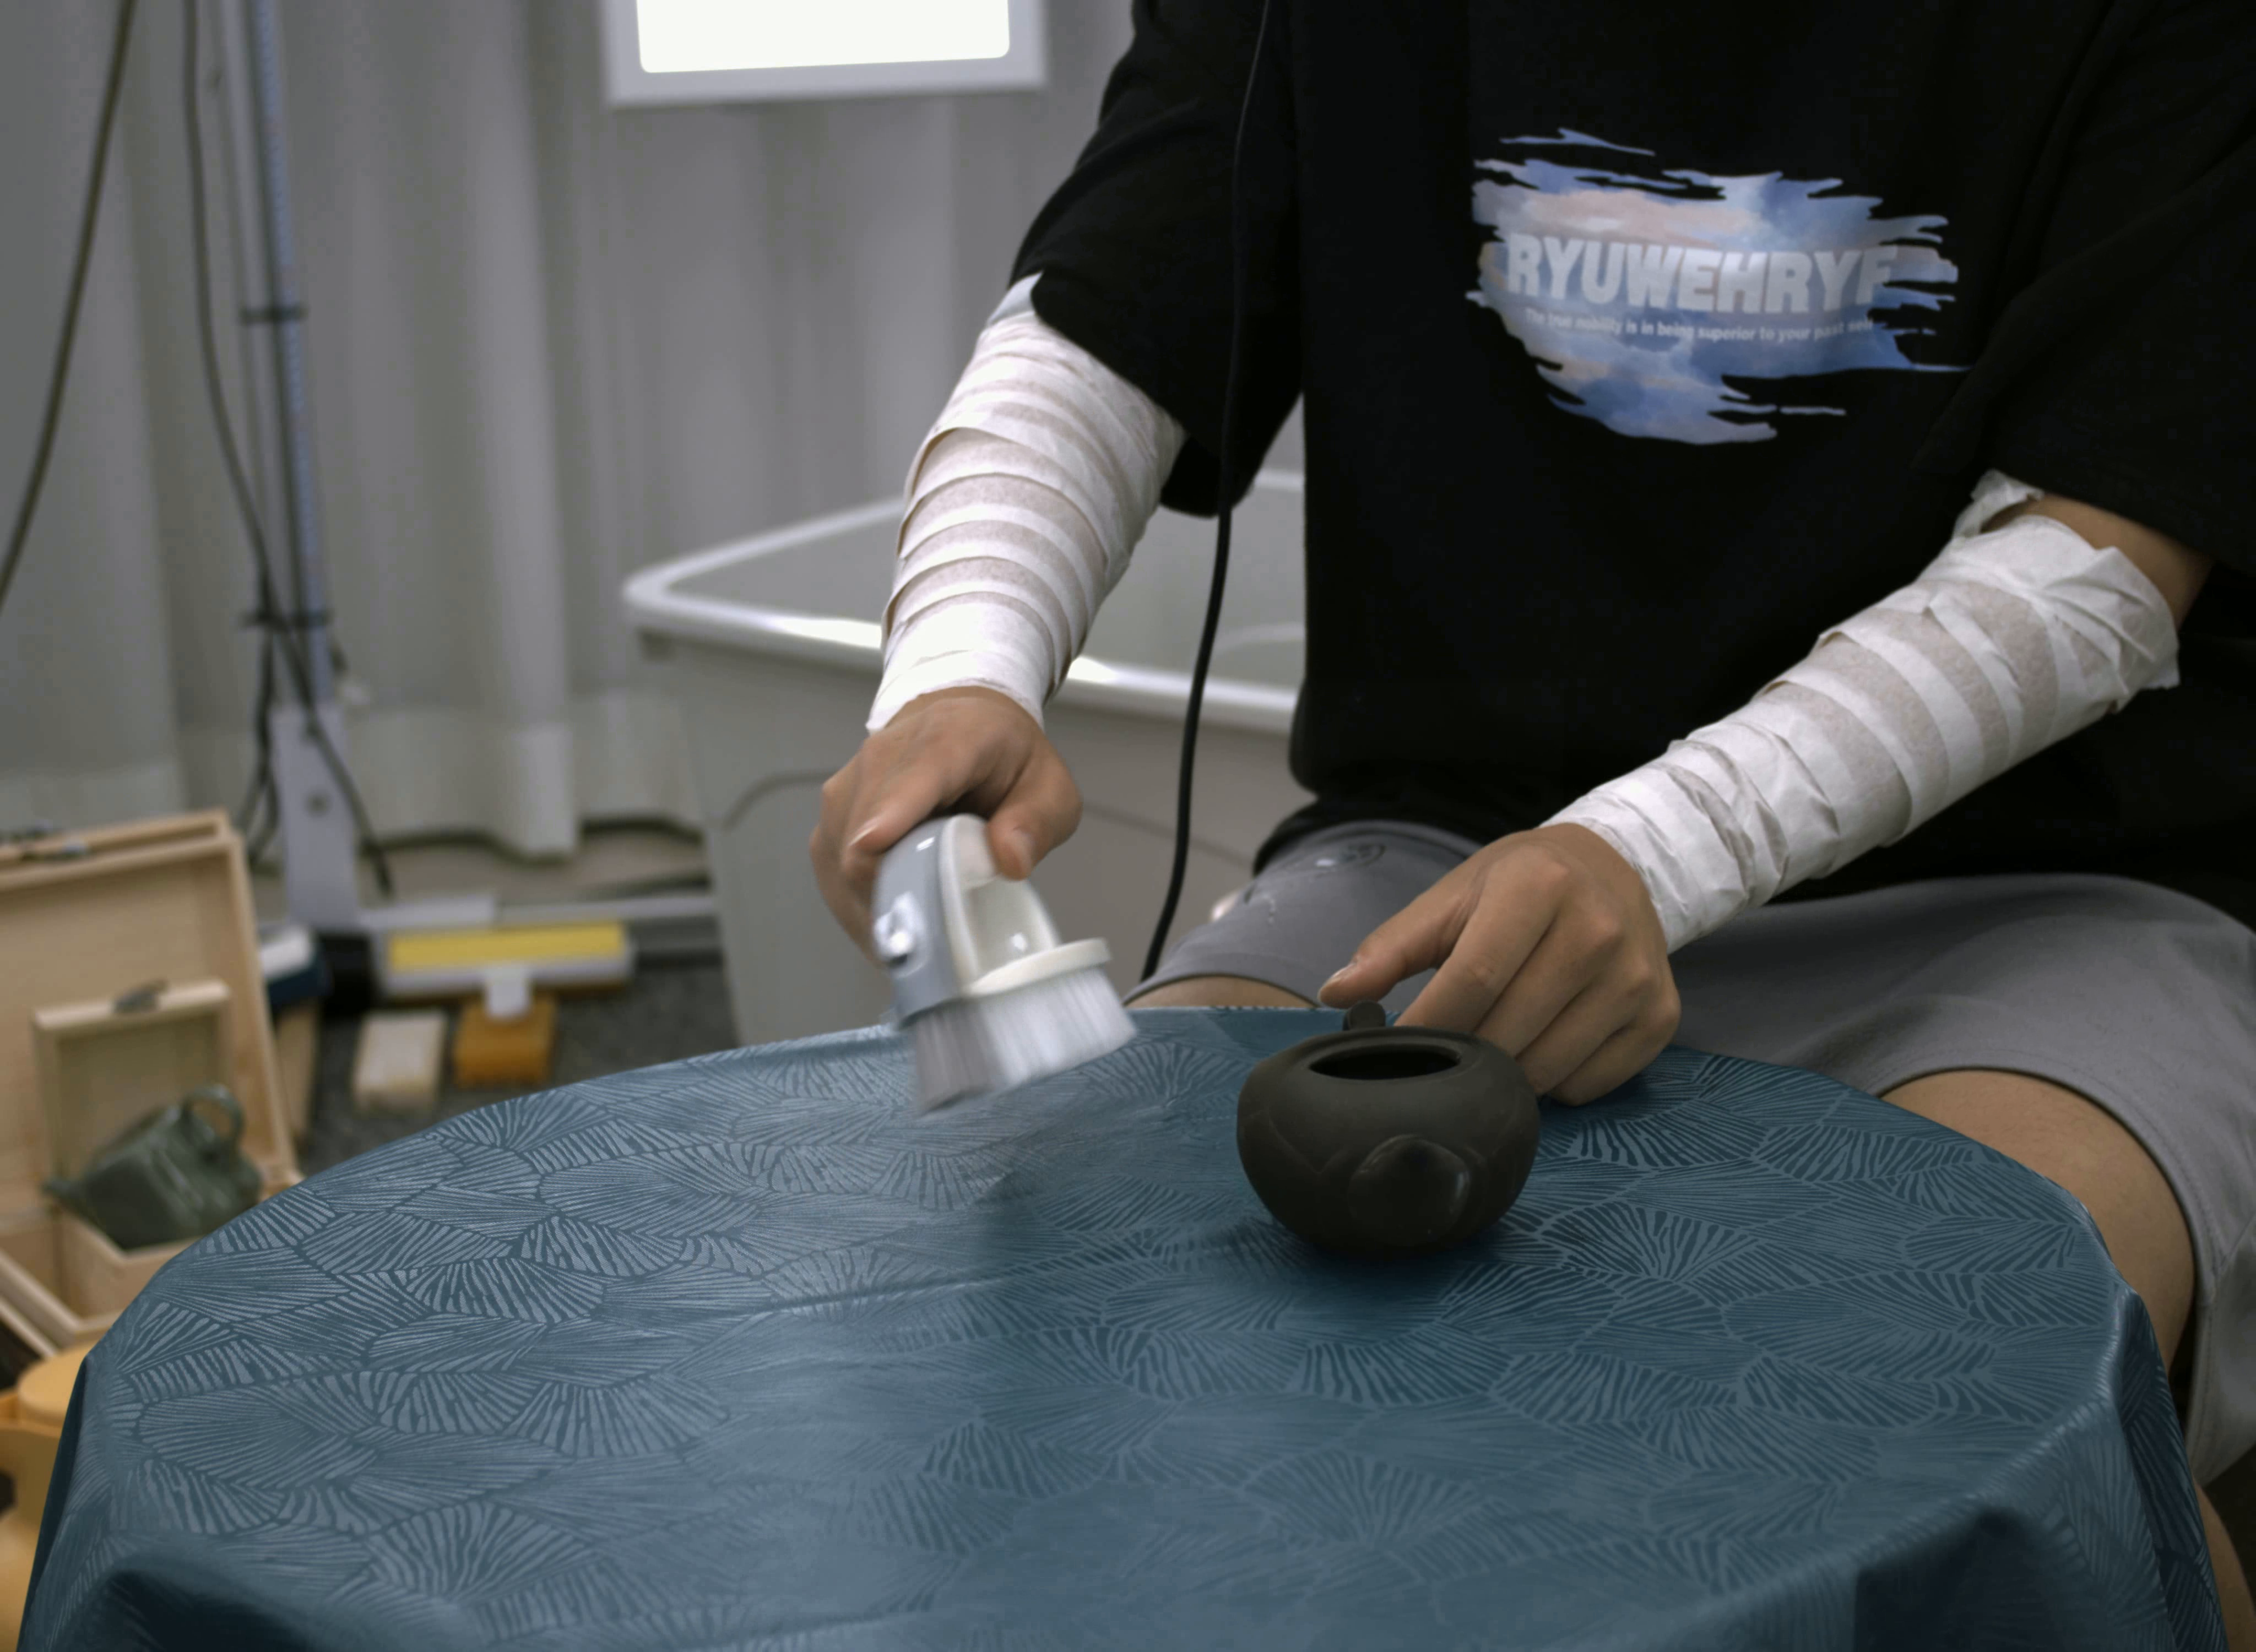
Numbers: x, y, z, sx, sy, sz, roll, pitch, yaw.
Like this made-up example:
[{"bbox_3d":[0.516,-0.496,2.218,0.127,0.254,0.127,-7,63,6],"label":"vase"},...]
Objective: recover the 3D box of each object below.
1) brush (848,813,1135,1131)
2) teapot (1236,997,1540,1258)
[{"bbox_3d":[-0.054,0.042,1.691,0.061,0.094,0.175,-25,-2,14],"label":"brush"},{"bbox_3d":[0.078,0.092,1.657,0.092,0.064,0.155,-3,16,-3],"label":"teapot"}]
